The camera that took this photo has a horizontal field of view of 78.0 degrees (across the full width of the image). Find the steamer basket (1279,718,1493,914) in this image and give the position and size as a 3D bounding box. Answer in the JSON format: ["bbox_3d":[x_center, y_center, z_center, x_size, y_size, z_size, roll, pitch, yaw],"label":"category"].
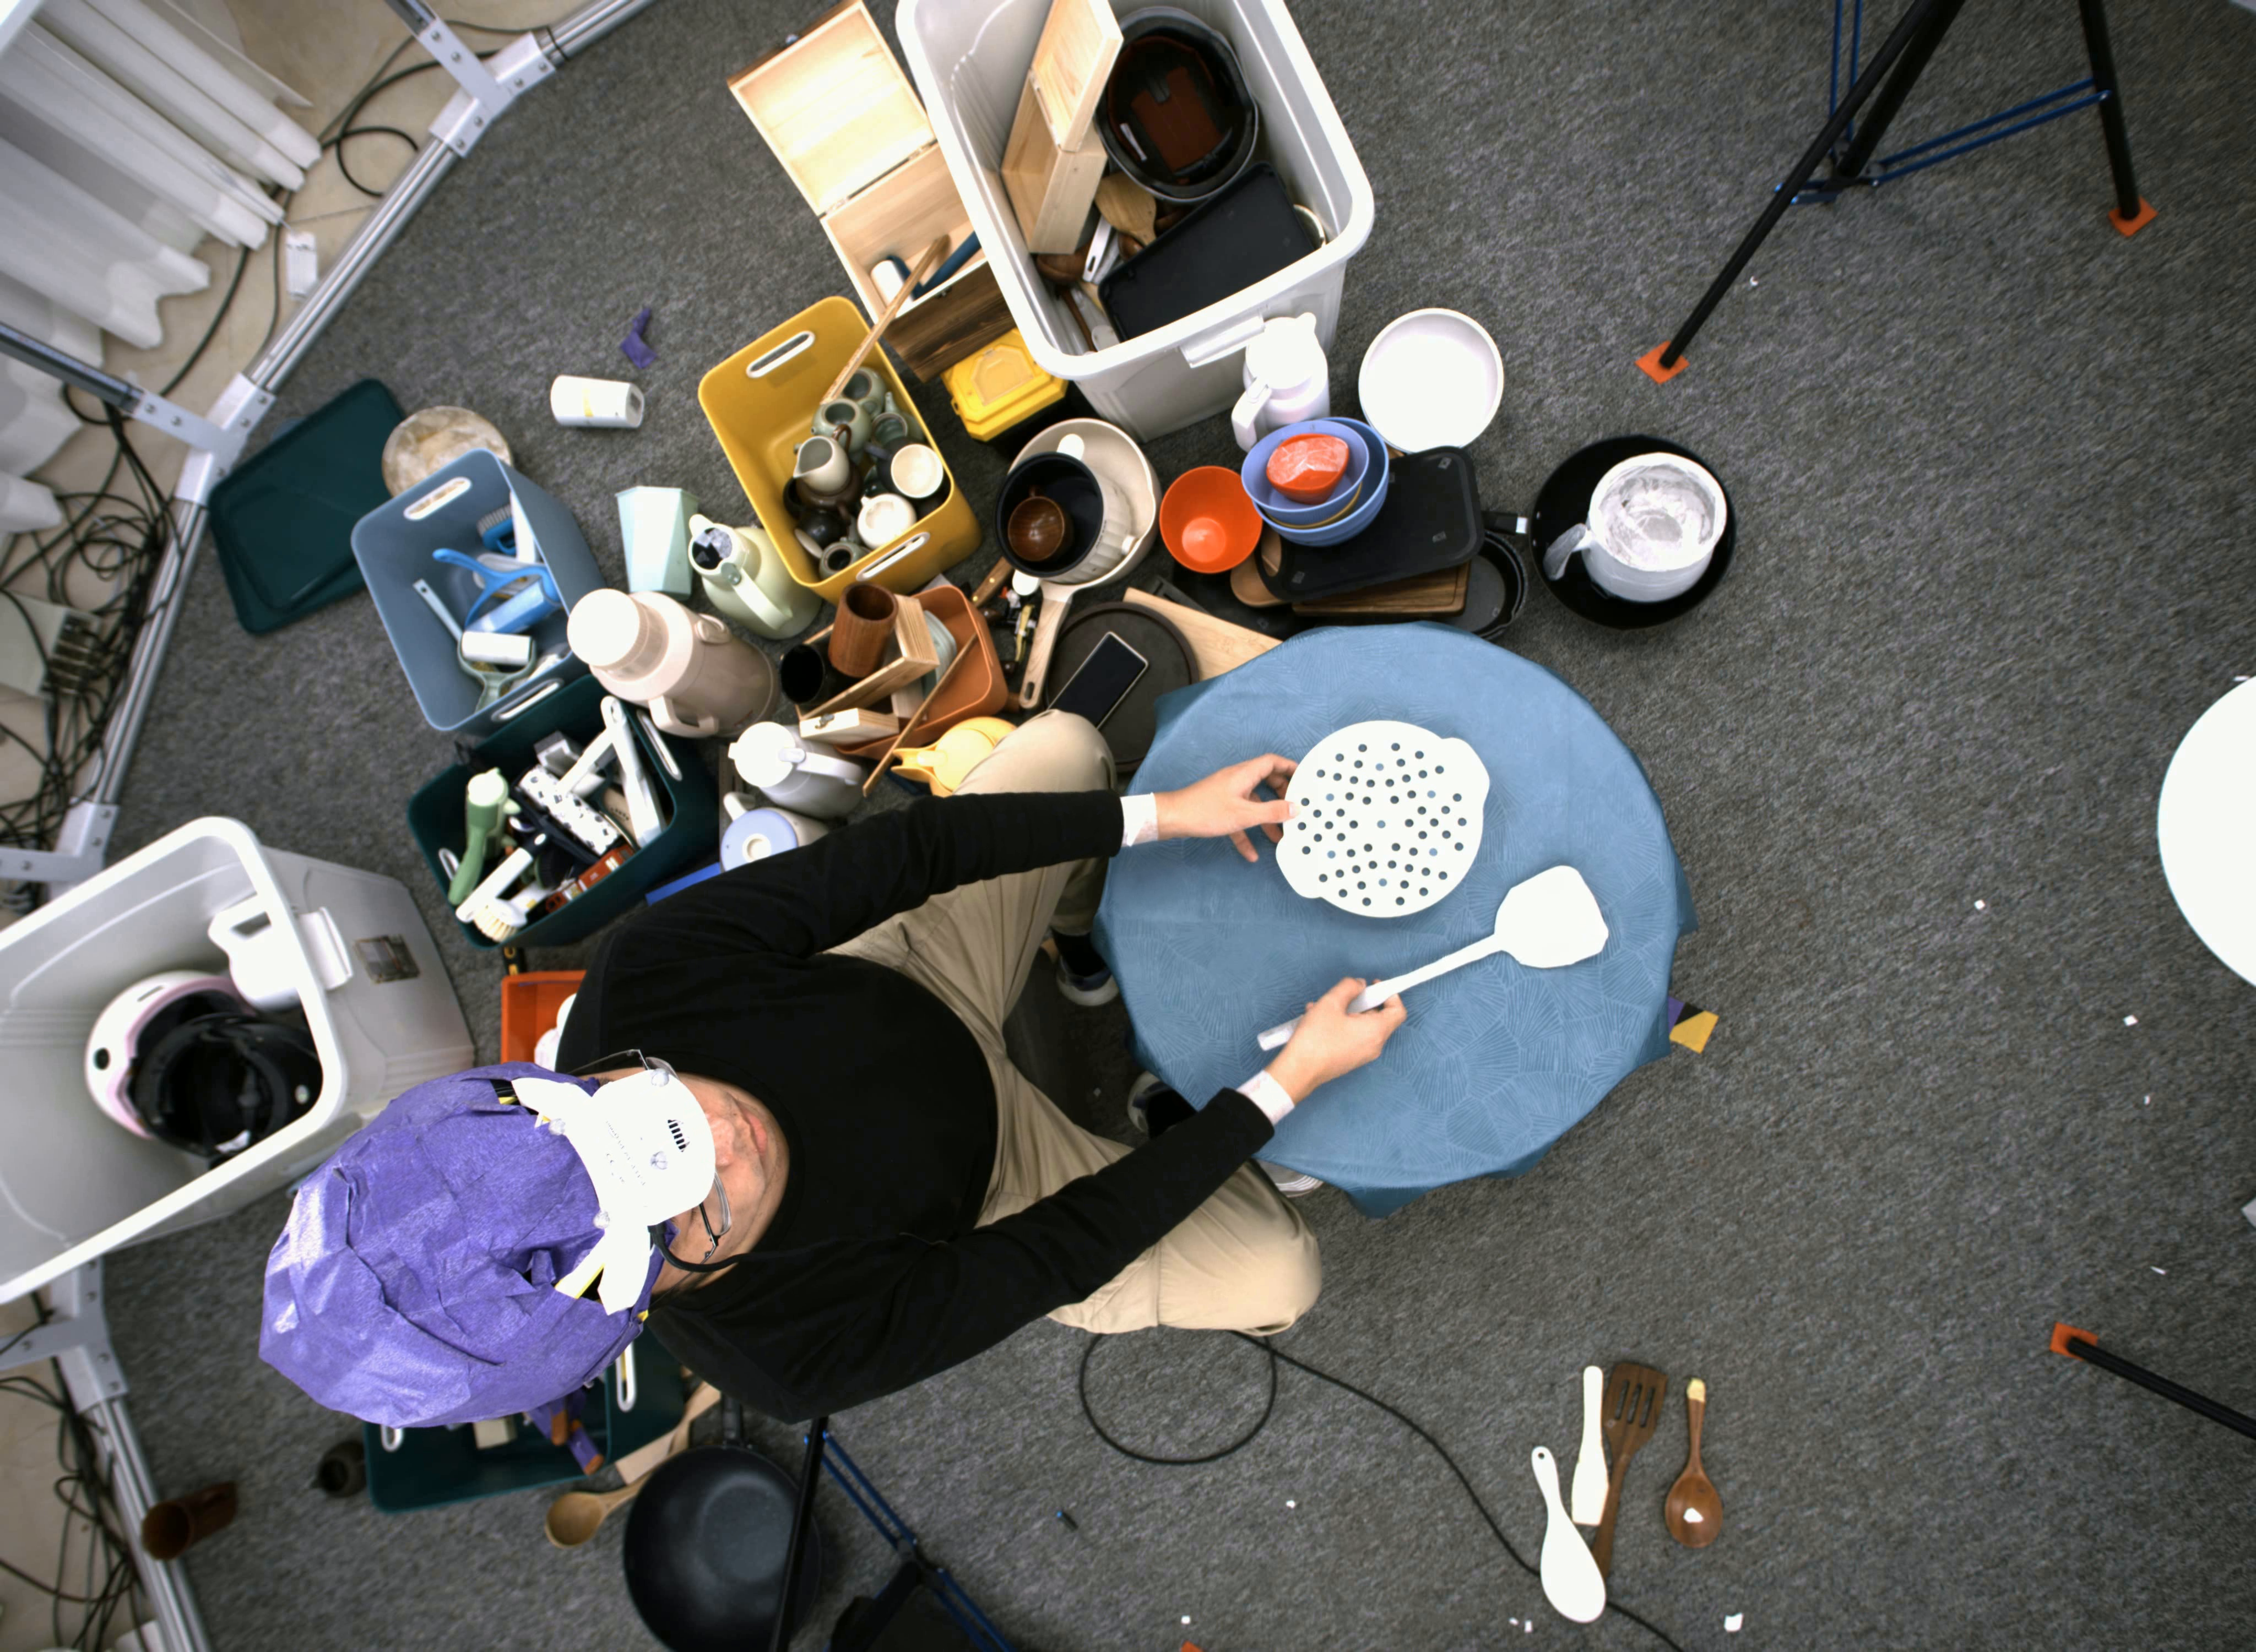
[{"bbox_3d":[0.267,-0.009,1.430,0.232,0.069,0.200,-31,81,8],"label":"steamer basket"}]

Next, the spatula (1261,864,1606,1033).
[{"bbox_3d":[0.310,0.142,1.414,0.365,0.045,0.098,-22,86,0],"label":"spatula"}]
